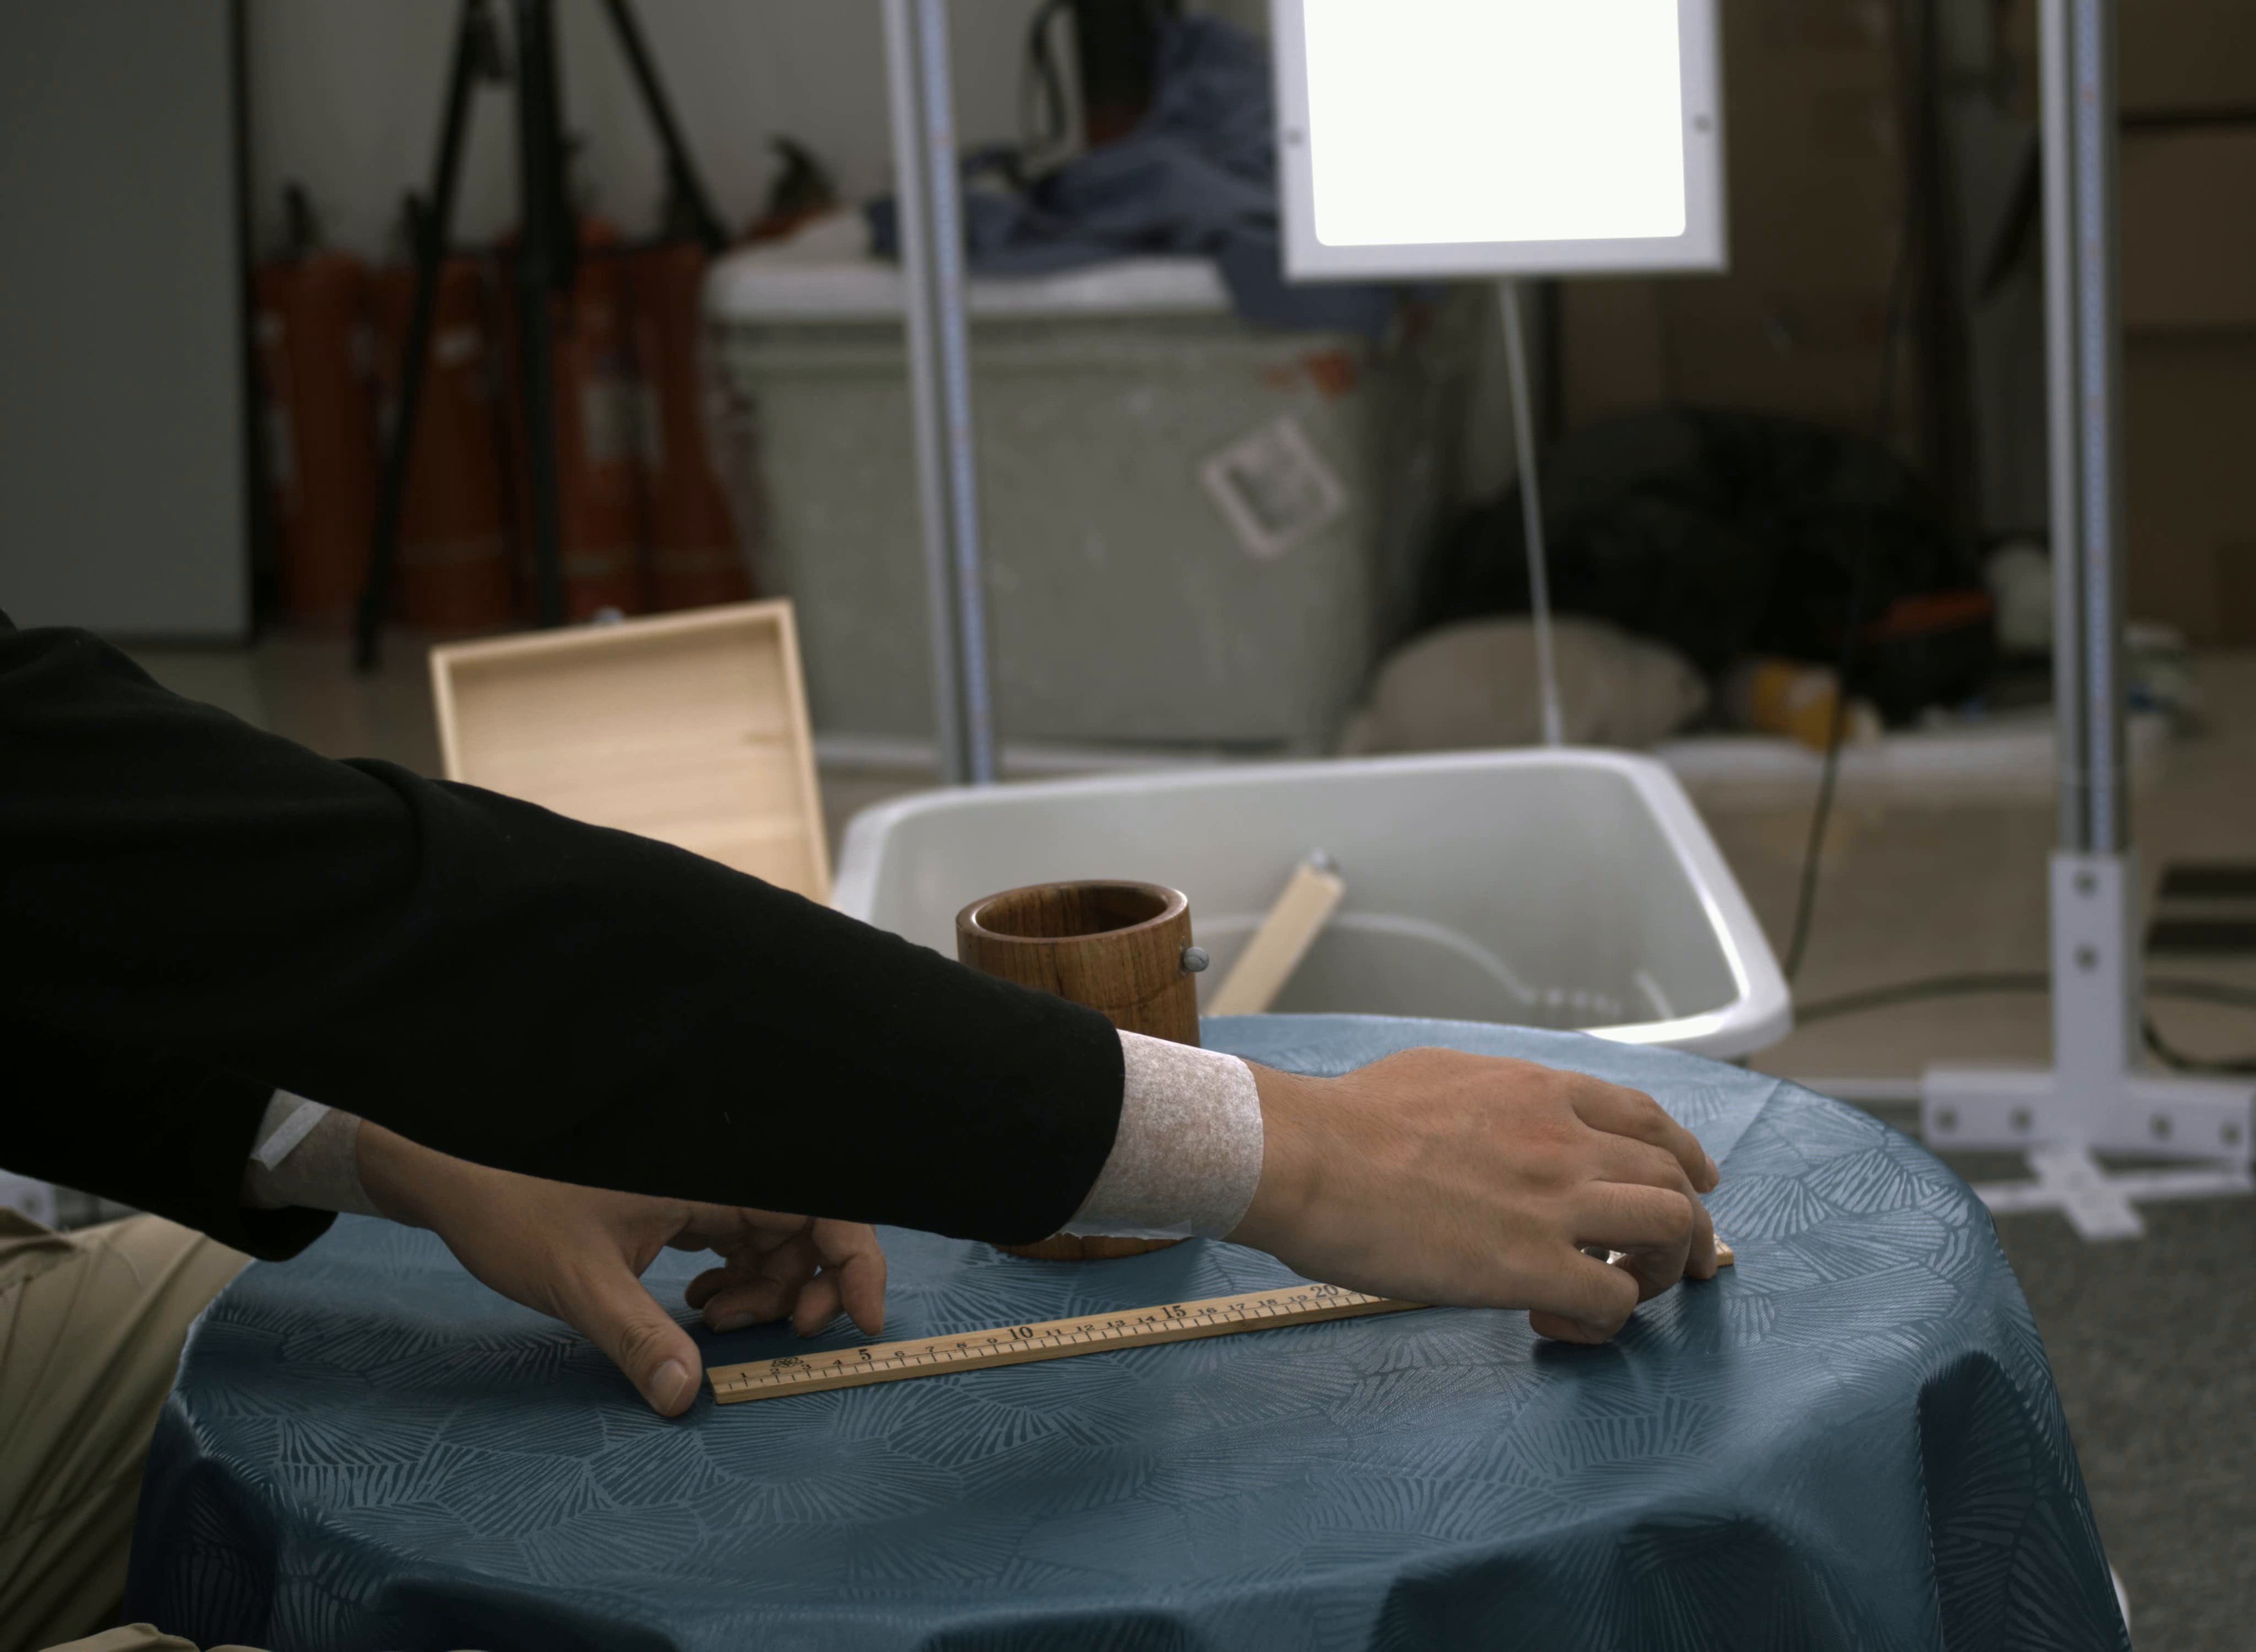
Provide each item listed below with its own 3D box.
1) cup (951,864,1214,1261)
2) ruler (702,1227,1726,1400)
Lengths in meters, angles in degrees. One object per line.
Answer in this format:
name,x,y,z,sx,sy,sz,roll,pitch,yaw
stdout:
cup,-0.013,0.079,1.853,0.087,0.119,0.087,-5,13,0
ruler,0.029,0.154,1.756,0.329,0.022,0.027,-7,7,-6
